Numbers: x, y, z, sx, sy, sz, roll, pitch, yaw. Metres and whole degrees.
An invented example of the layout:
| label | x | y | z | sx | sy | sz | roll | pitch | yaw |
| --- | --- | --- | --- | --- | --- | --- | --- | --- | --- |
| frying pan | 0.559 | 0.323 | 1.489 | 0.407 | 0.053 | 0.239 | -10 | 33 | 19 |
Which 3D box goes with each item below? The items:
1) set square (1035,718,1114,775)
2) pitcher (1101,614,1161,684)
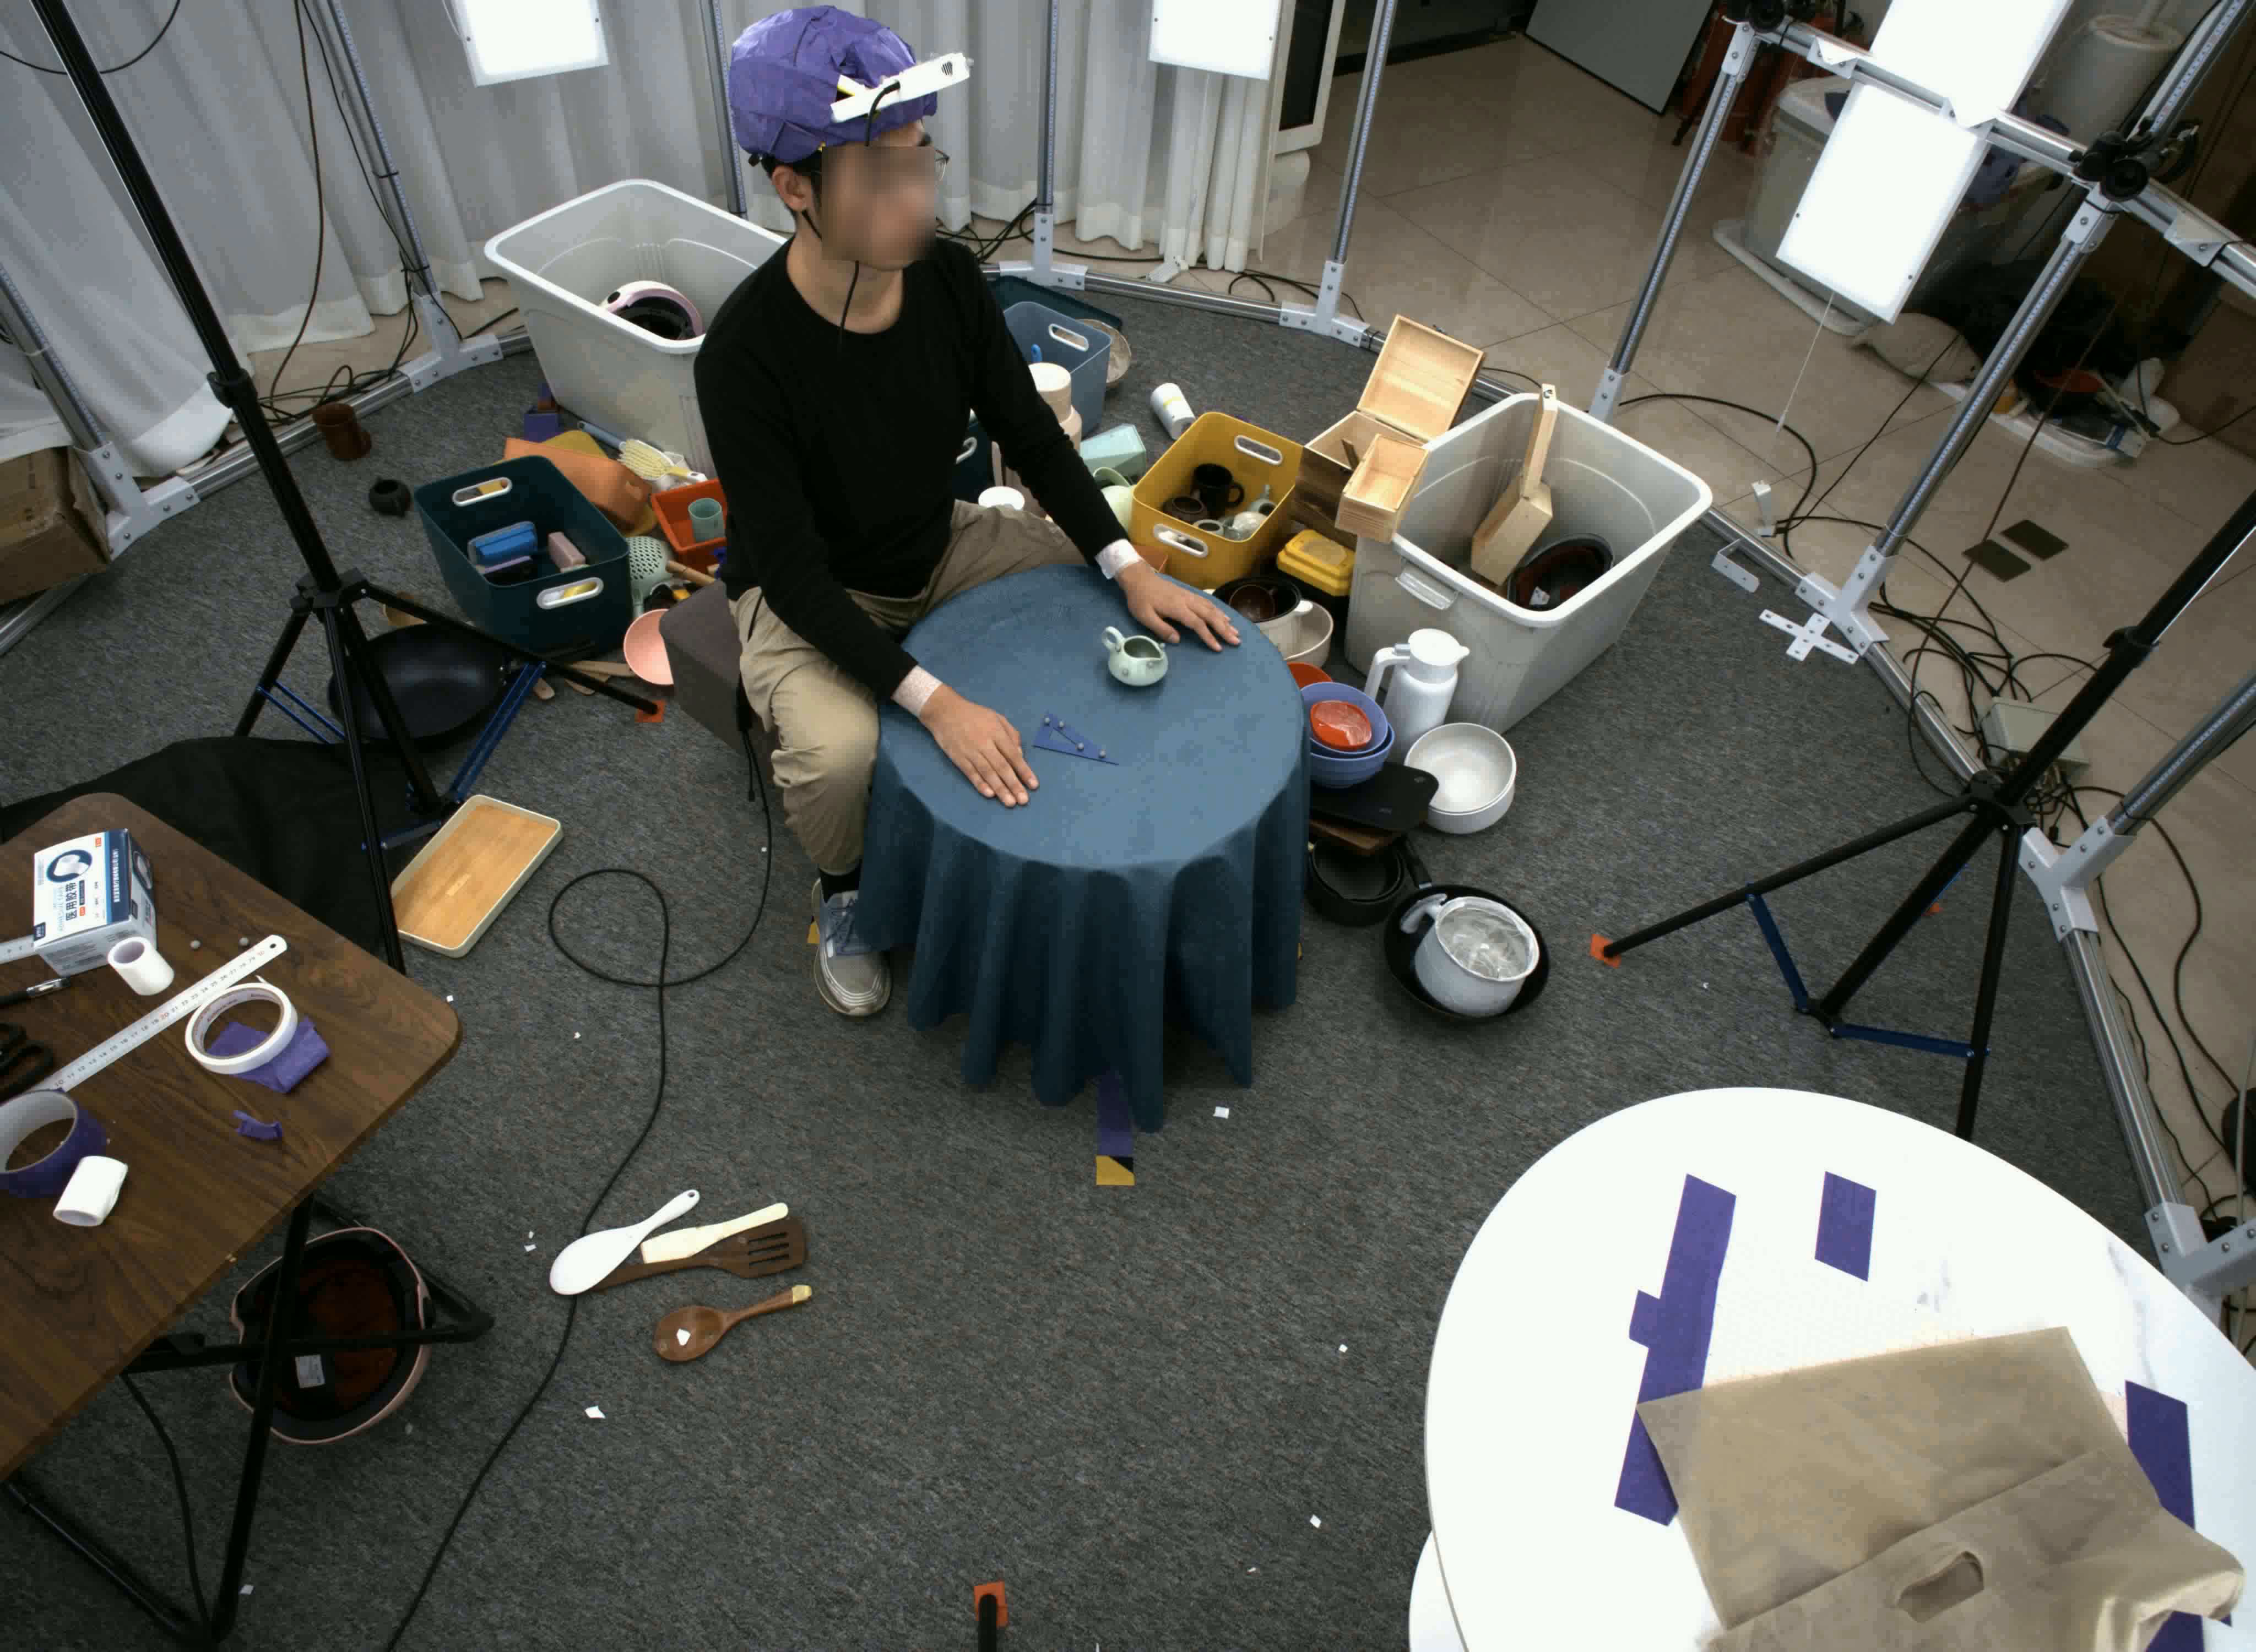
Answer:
| label | x | y | z | sx | sy | sz | roll | pitch | yaw |
| --- | --- | --- | --- | --- | --- | --- | --- | --- | --- |
| set square | -0.080 | -0.100 | 1.749 | 0.061 | 0.006 | 0.134 | -32 | 58 | -29 |
| pitcher | -0.001 | -0.256 | 1.848 | 0.086 | 0.059 | 0.109 | -33 | 76 | -17 |
